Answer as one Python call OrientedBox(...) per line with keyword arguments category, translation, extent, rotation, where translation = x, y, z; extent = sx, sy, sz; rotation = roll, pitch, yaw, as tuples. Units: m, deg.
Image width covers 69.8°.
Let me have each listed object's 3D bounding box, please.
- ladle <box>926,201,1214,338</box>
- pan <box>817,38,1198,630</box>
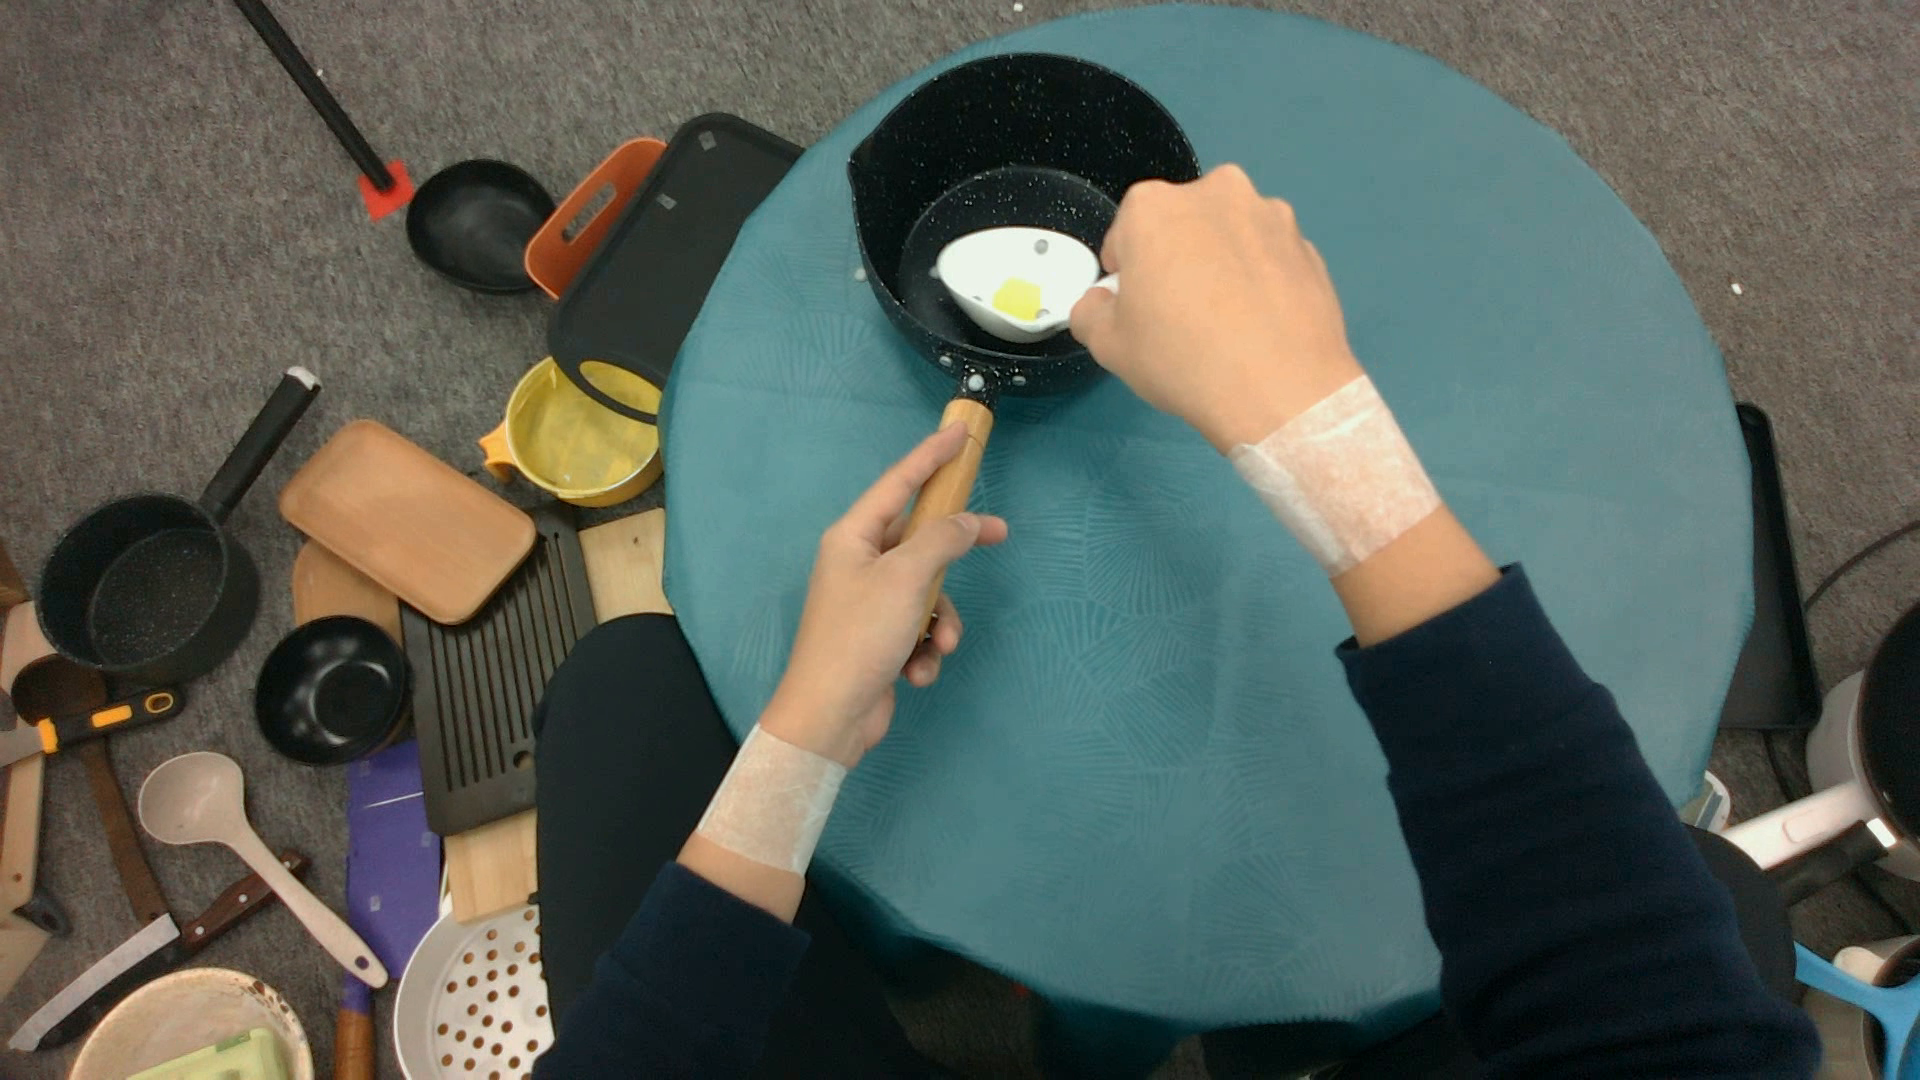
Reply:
OrientedBox(category="ladle", translation=(0.050, -0.135, 0.660), extent=(0.090, 0.293, 0.070), rotation=(4, 99, -14))
OrientedBox(category="pan", translation=(0.007, -0.102, 0.723), extent=(0.207, 0.108, 0.344), rotation=(13, 71, 3))
